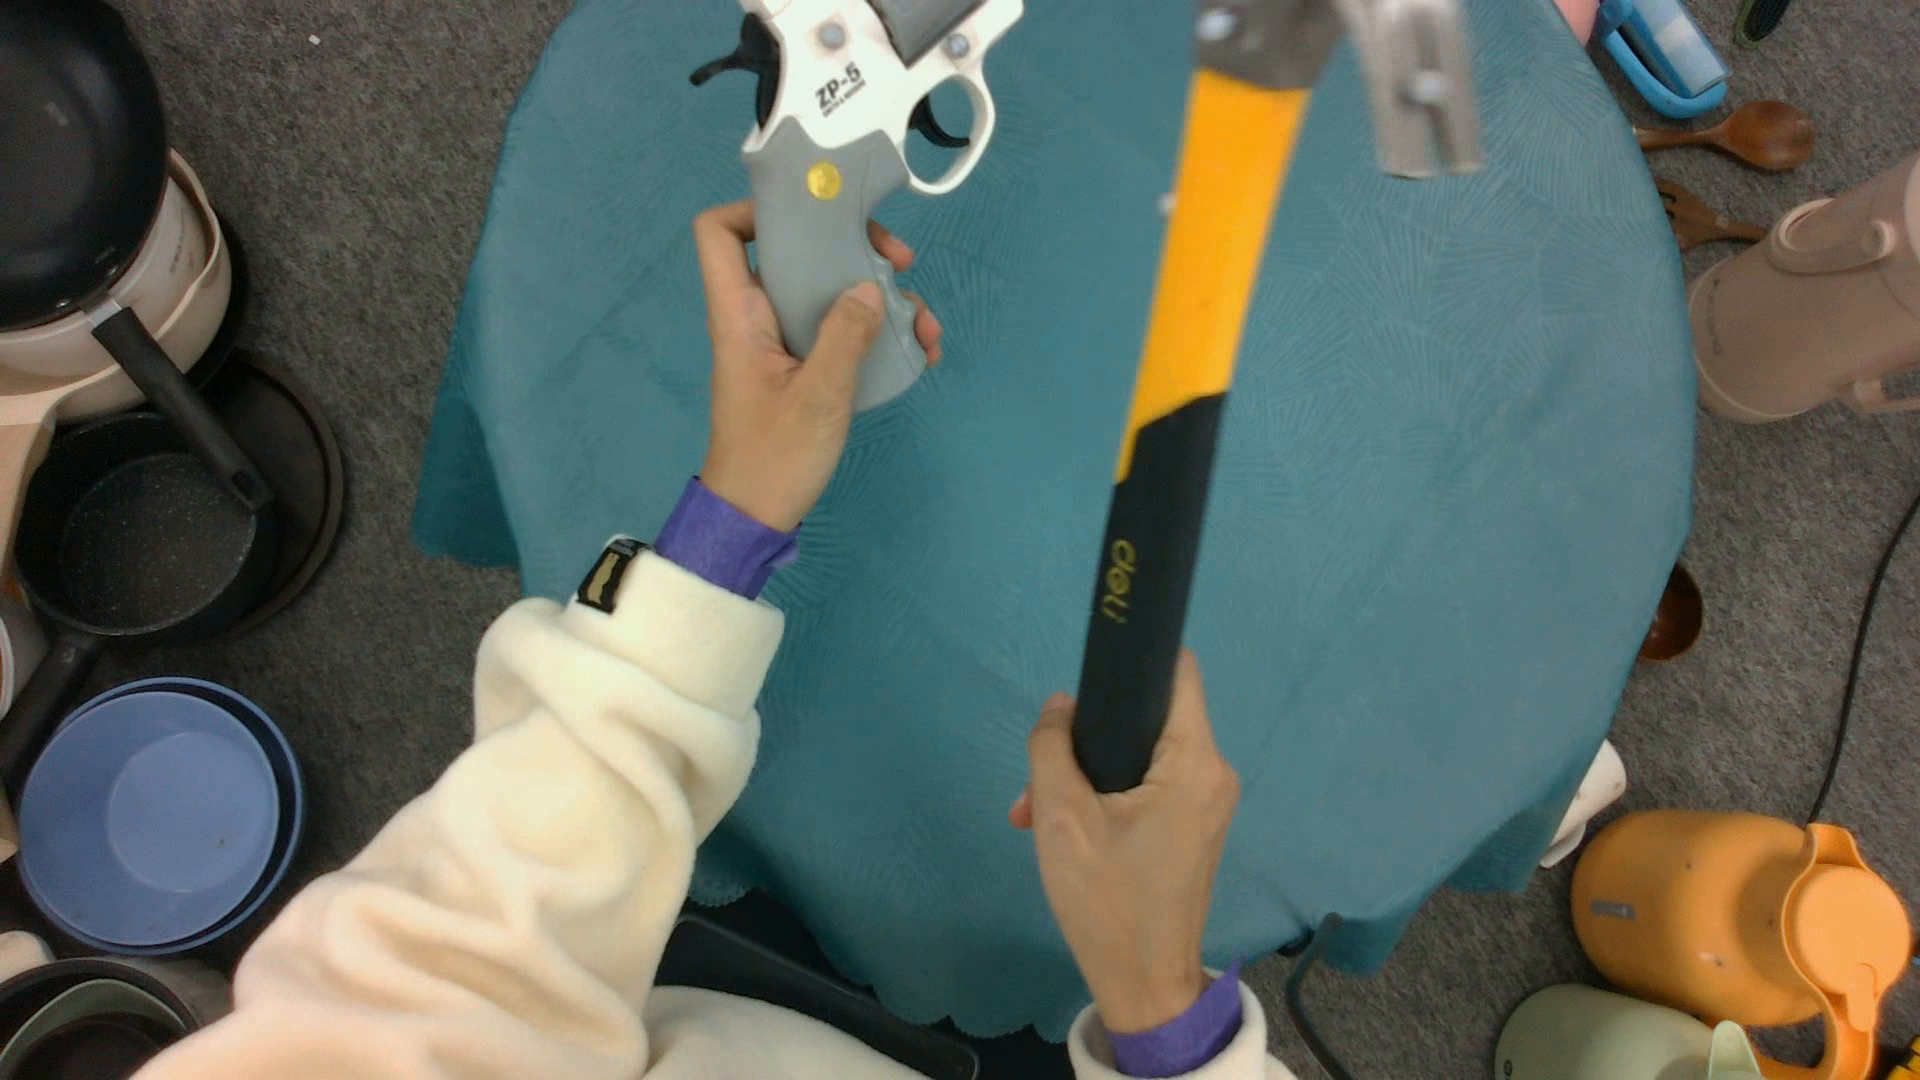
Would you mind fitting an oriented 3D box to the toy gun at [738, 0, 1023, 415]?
[{"bbox_3d":[-0.012,-0.159,0.501,0.209,0.039,0.141,-45,118,-13],"label":"toy gun"}]

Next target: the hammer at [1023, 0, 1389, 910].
[{"bbox_3d":[0.051,-0.022,0.438,0.032,0.131,0.337,-15,122,-35],"label":"hammer"}]
